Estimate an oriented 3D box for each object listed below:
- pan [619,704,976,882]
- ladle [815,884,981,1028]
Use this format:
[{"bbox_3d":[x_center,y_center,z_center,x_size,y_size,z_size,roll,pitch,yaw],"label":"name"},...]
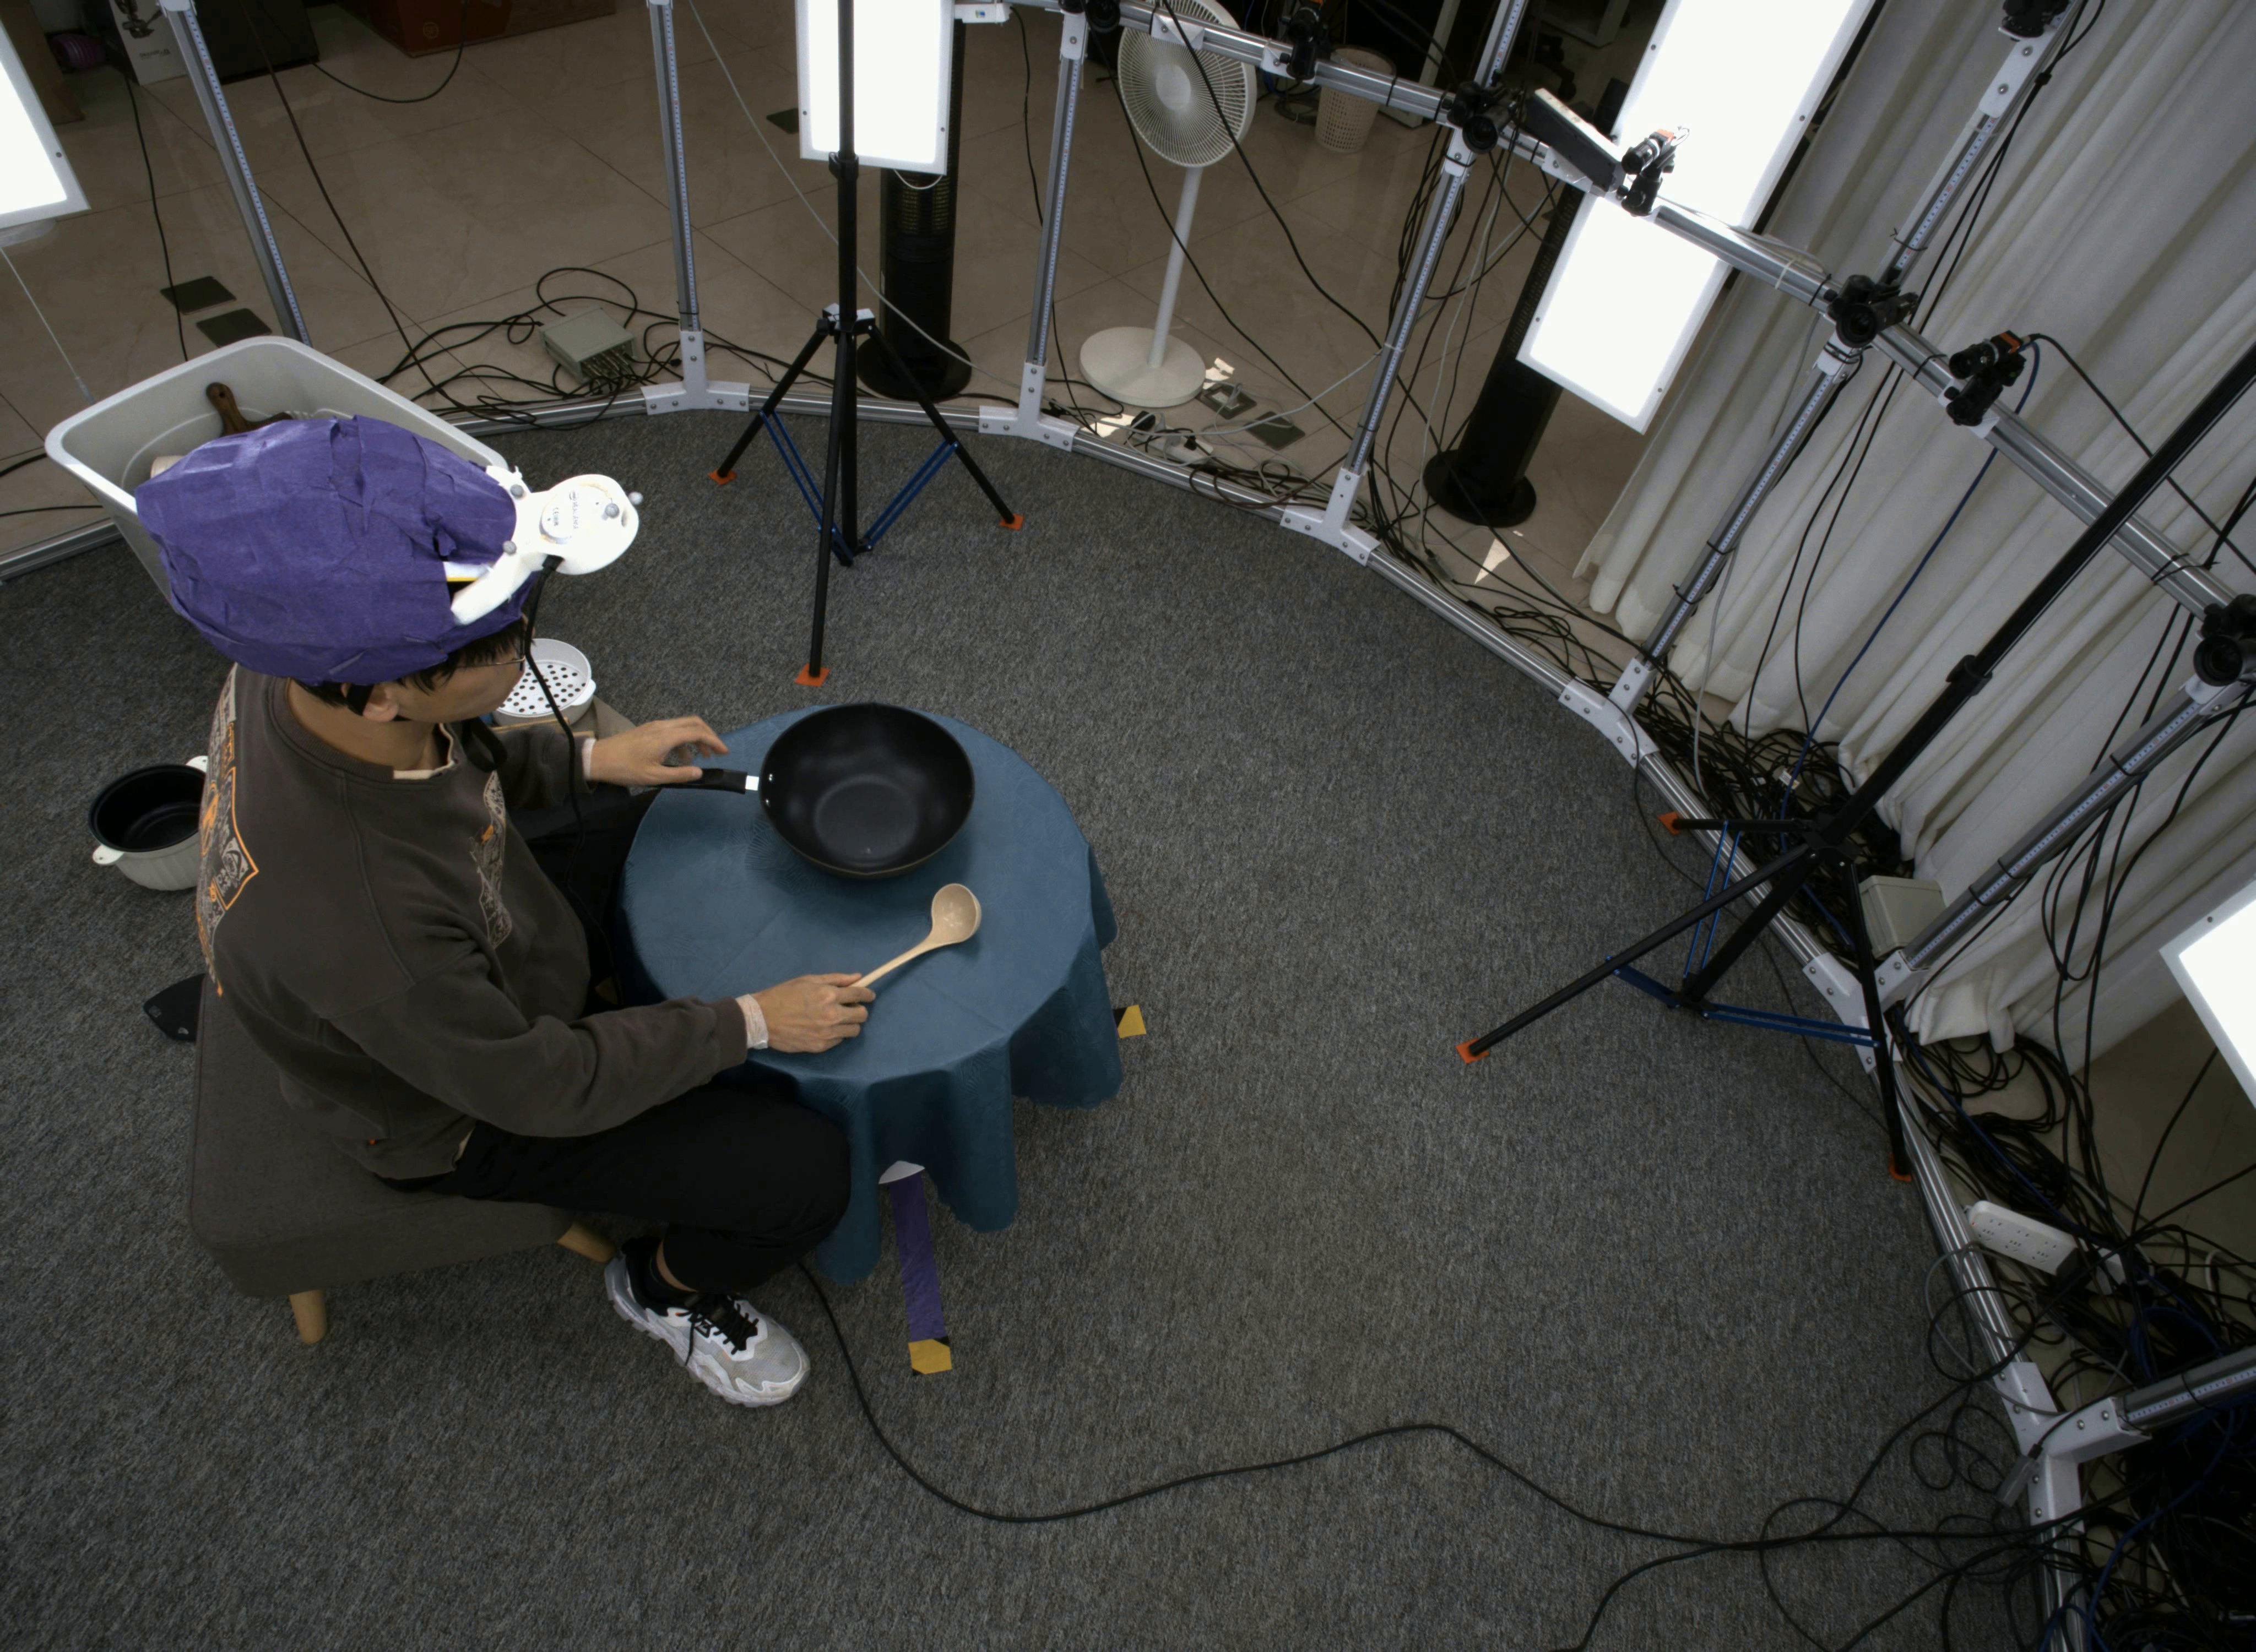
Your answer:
[{"bbox_3d":[-0.433,-0.035,1.709,0.463,0.089,0.282,2,54,-11],"label":"pan"},{"bbox_3d":[-0.283,0.154,1.598,0.070,0.074,0.255,39,48,18],"label":"ladle"}]
